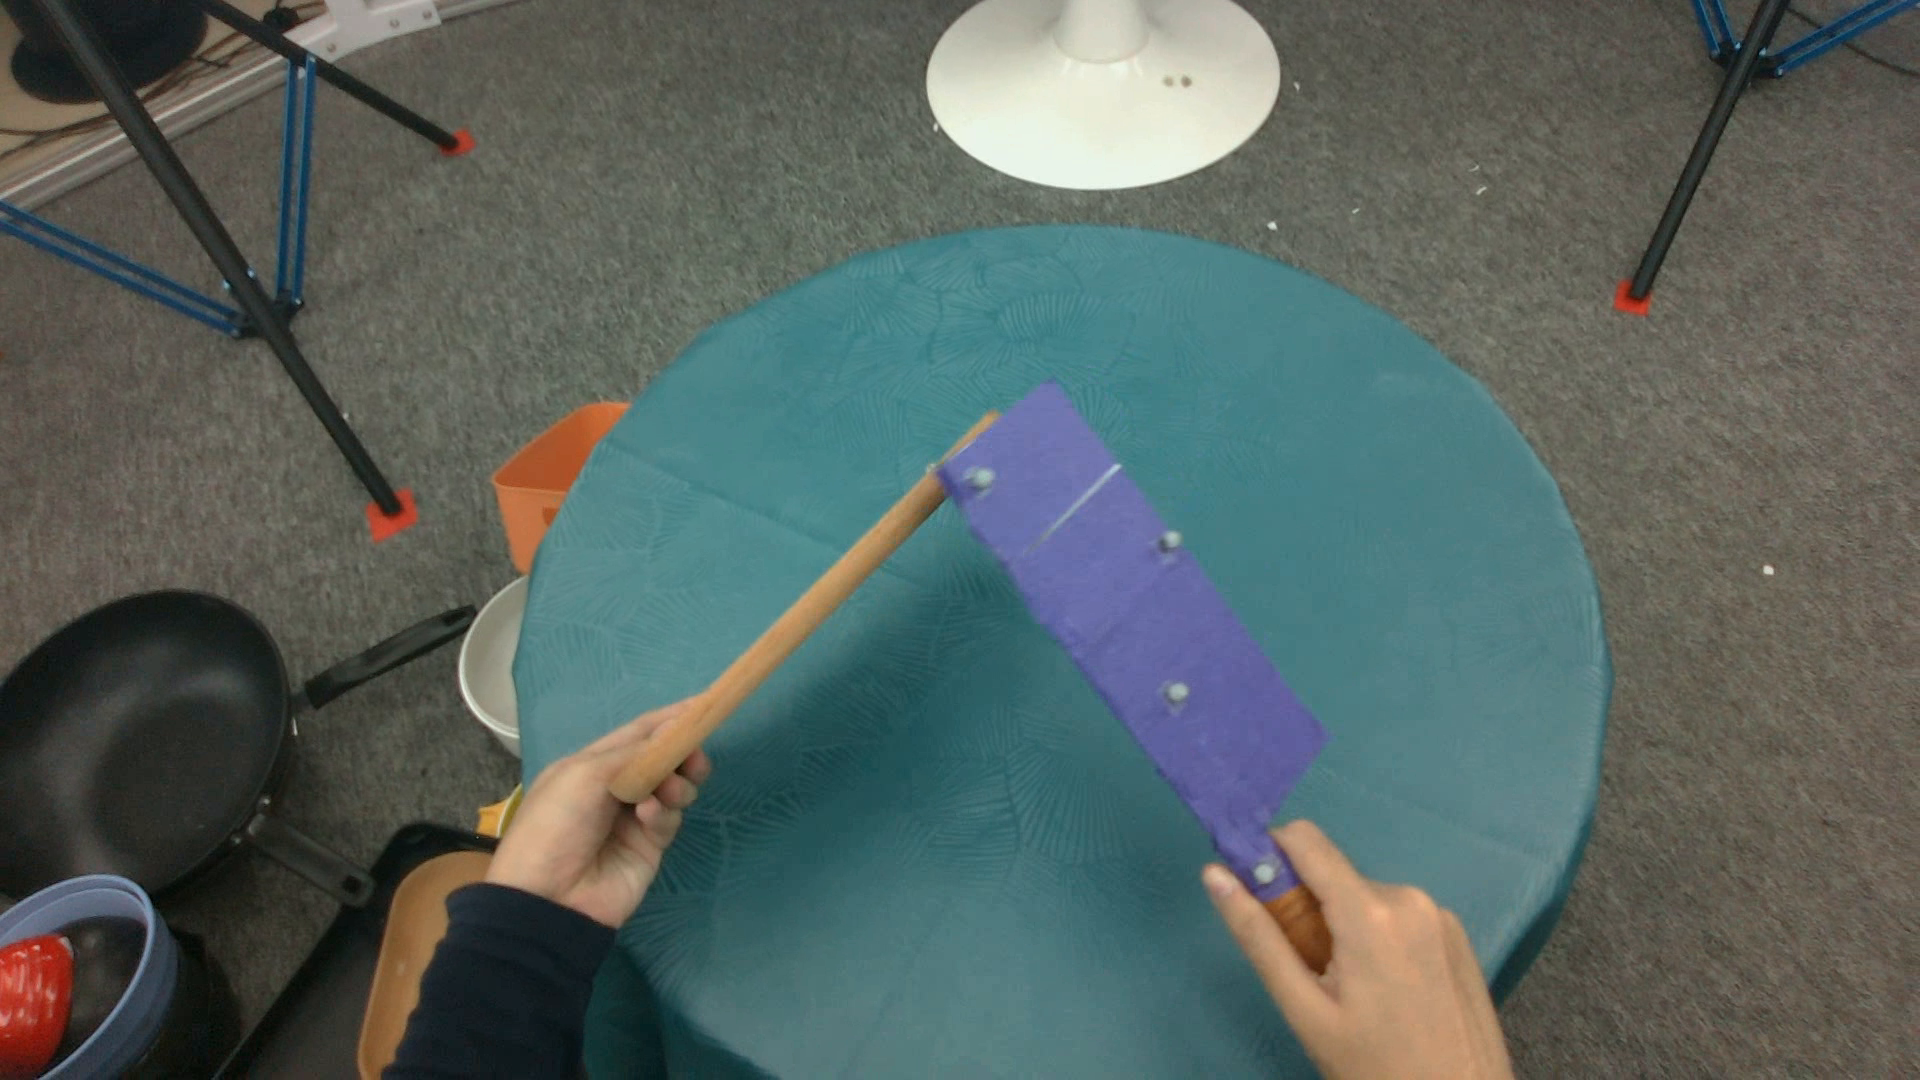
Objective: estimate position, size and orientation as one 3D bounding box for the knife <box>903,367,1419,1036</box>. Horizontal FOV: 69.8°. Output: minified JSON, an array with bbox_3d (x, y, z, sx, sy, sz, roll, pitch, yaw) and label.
[{"bbox_3d":[0.103,0.061,0.586,0.315,0.032,0.104,52,51,-4],"label":"knife"}]

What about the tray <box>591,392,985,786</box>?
[{"bbox_3d":[-0.080,0.025,0.666,0.023,0.130,0.251,44,74,-1],"label":"tray"}]
